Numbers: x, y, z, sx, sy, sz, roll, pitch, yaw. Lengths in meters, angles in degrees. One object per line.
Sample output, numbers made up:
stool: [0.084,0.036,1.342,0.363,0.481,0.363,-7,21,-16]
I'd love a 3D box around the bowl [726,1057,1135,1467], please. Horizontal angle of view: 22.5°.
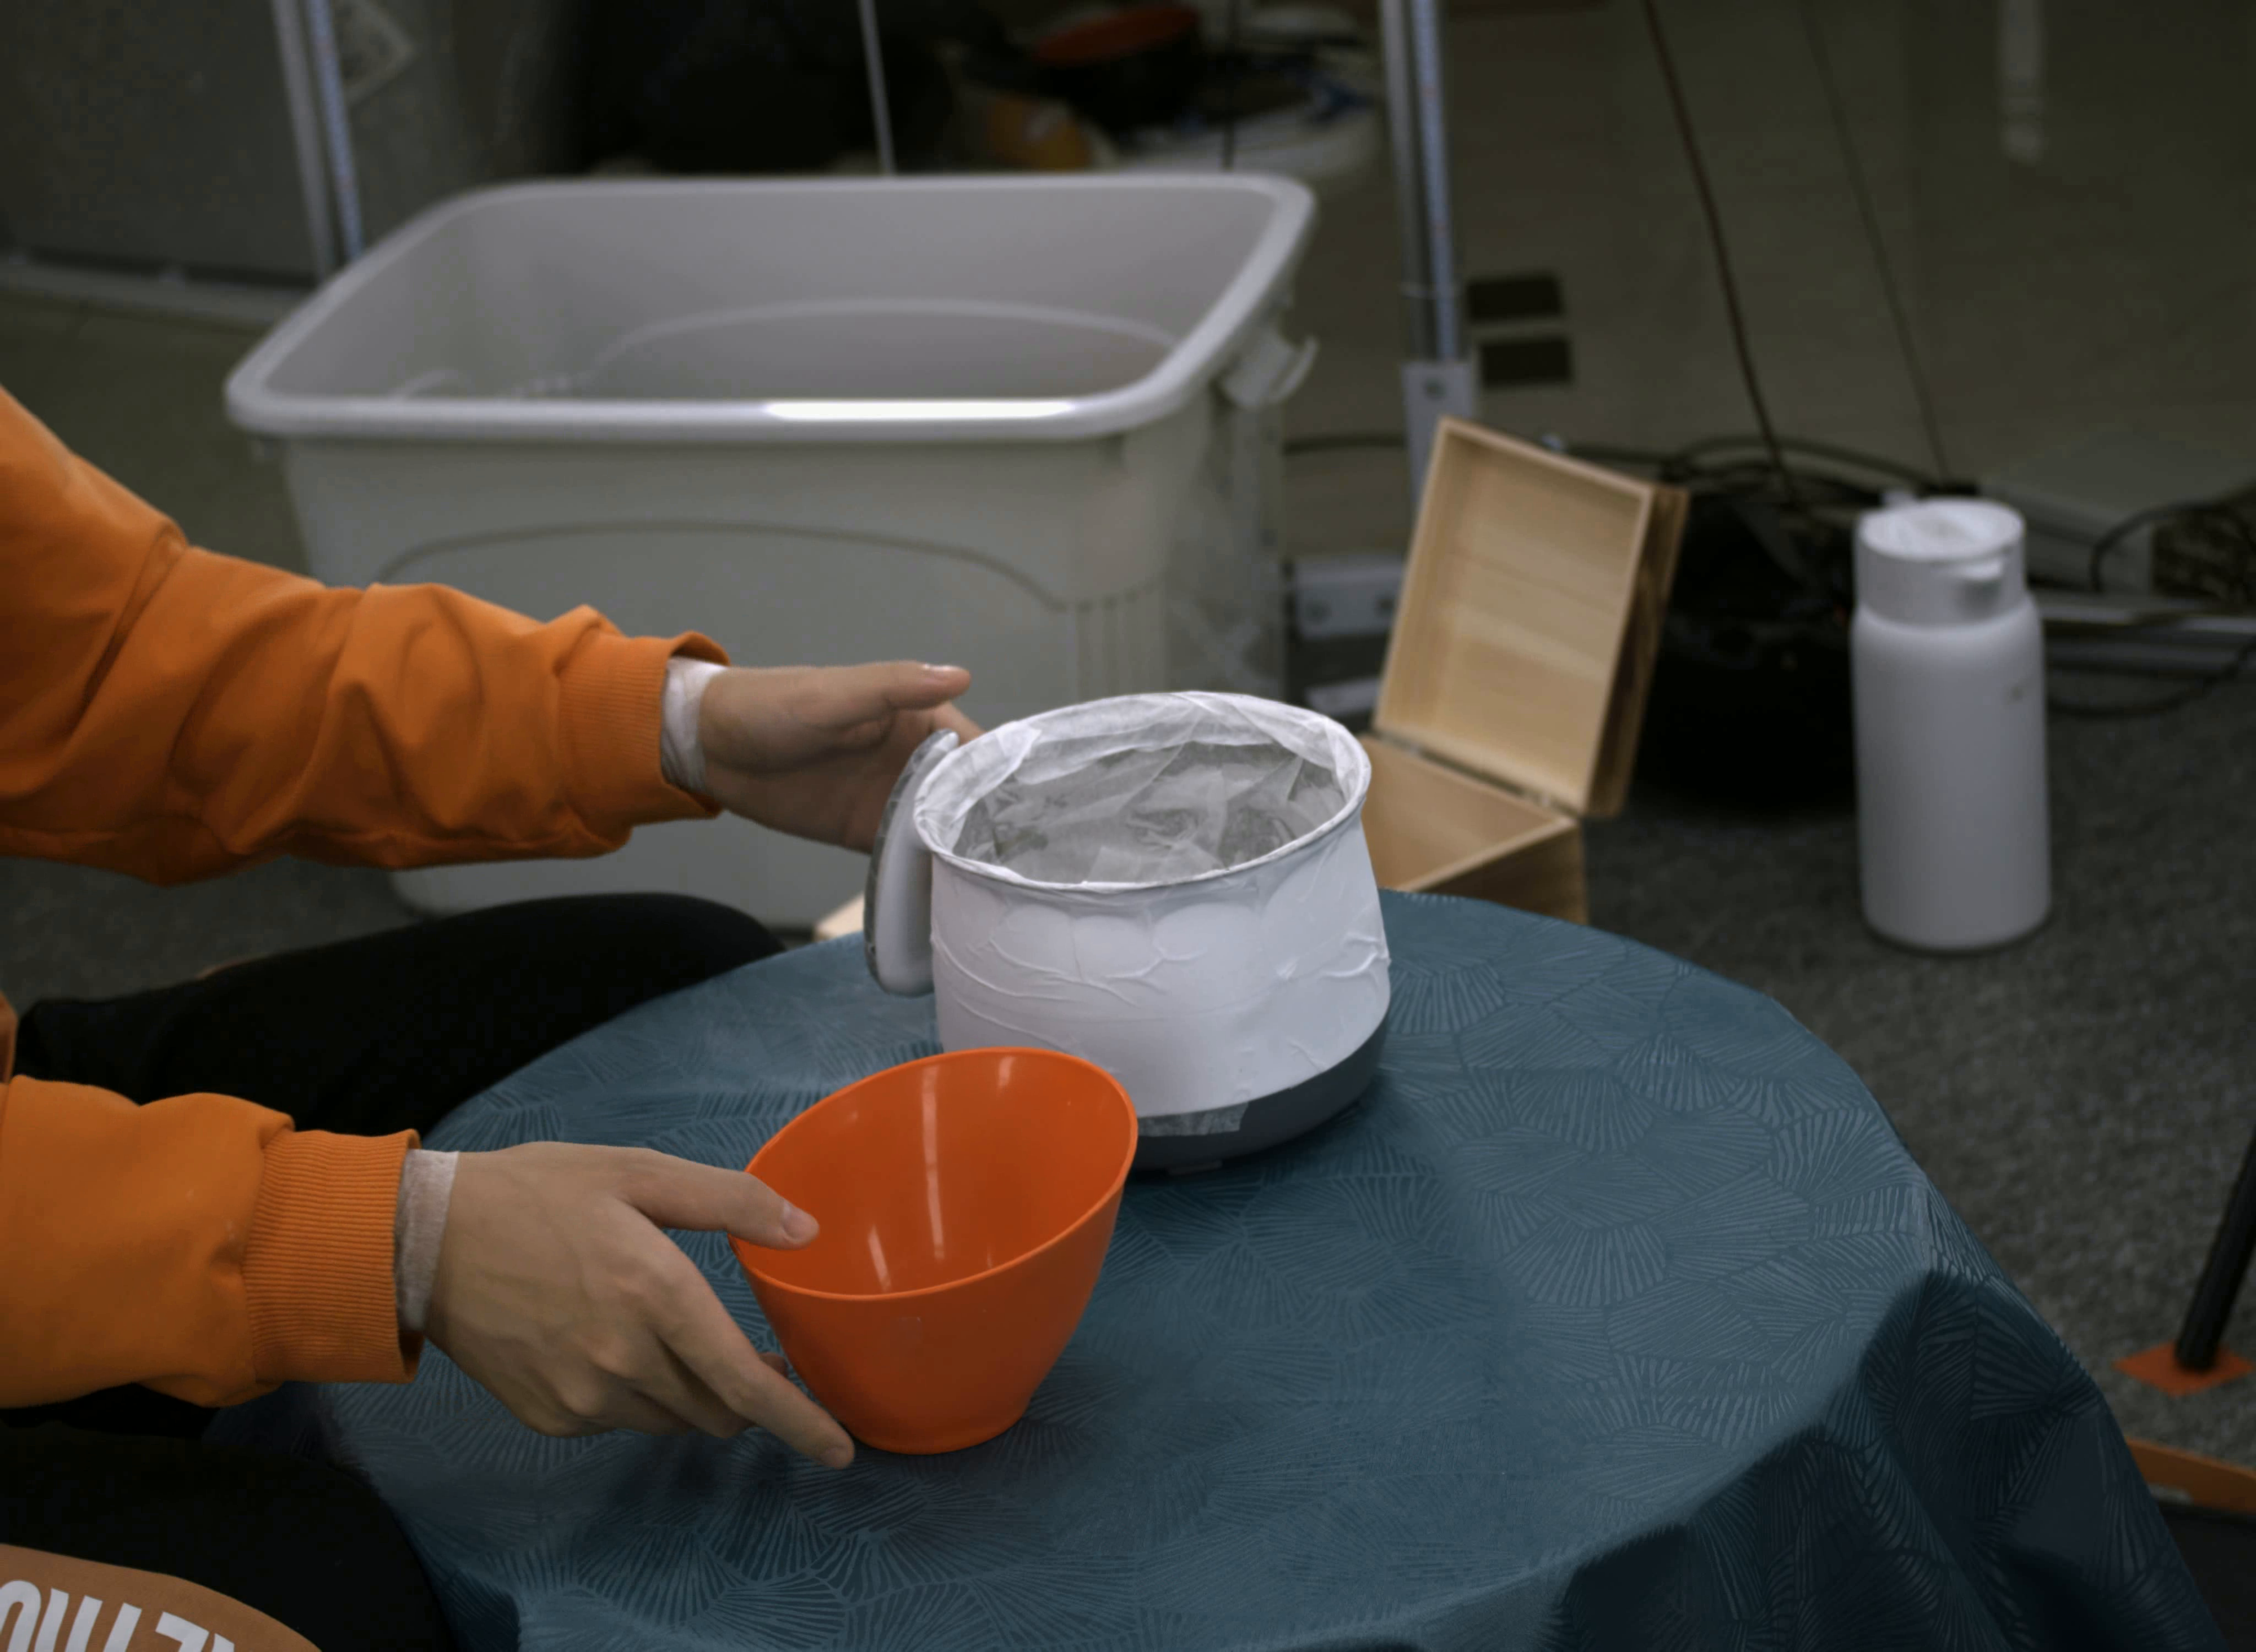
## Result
bowl: [-0.064,0.161,2.002,0.148,0.106,0.146,-6,26,3]

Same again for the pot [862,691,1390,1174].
pot: [-0.011,0.037,2.202,0.232,0.139,0.177,13,31,34]
